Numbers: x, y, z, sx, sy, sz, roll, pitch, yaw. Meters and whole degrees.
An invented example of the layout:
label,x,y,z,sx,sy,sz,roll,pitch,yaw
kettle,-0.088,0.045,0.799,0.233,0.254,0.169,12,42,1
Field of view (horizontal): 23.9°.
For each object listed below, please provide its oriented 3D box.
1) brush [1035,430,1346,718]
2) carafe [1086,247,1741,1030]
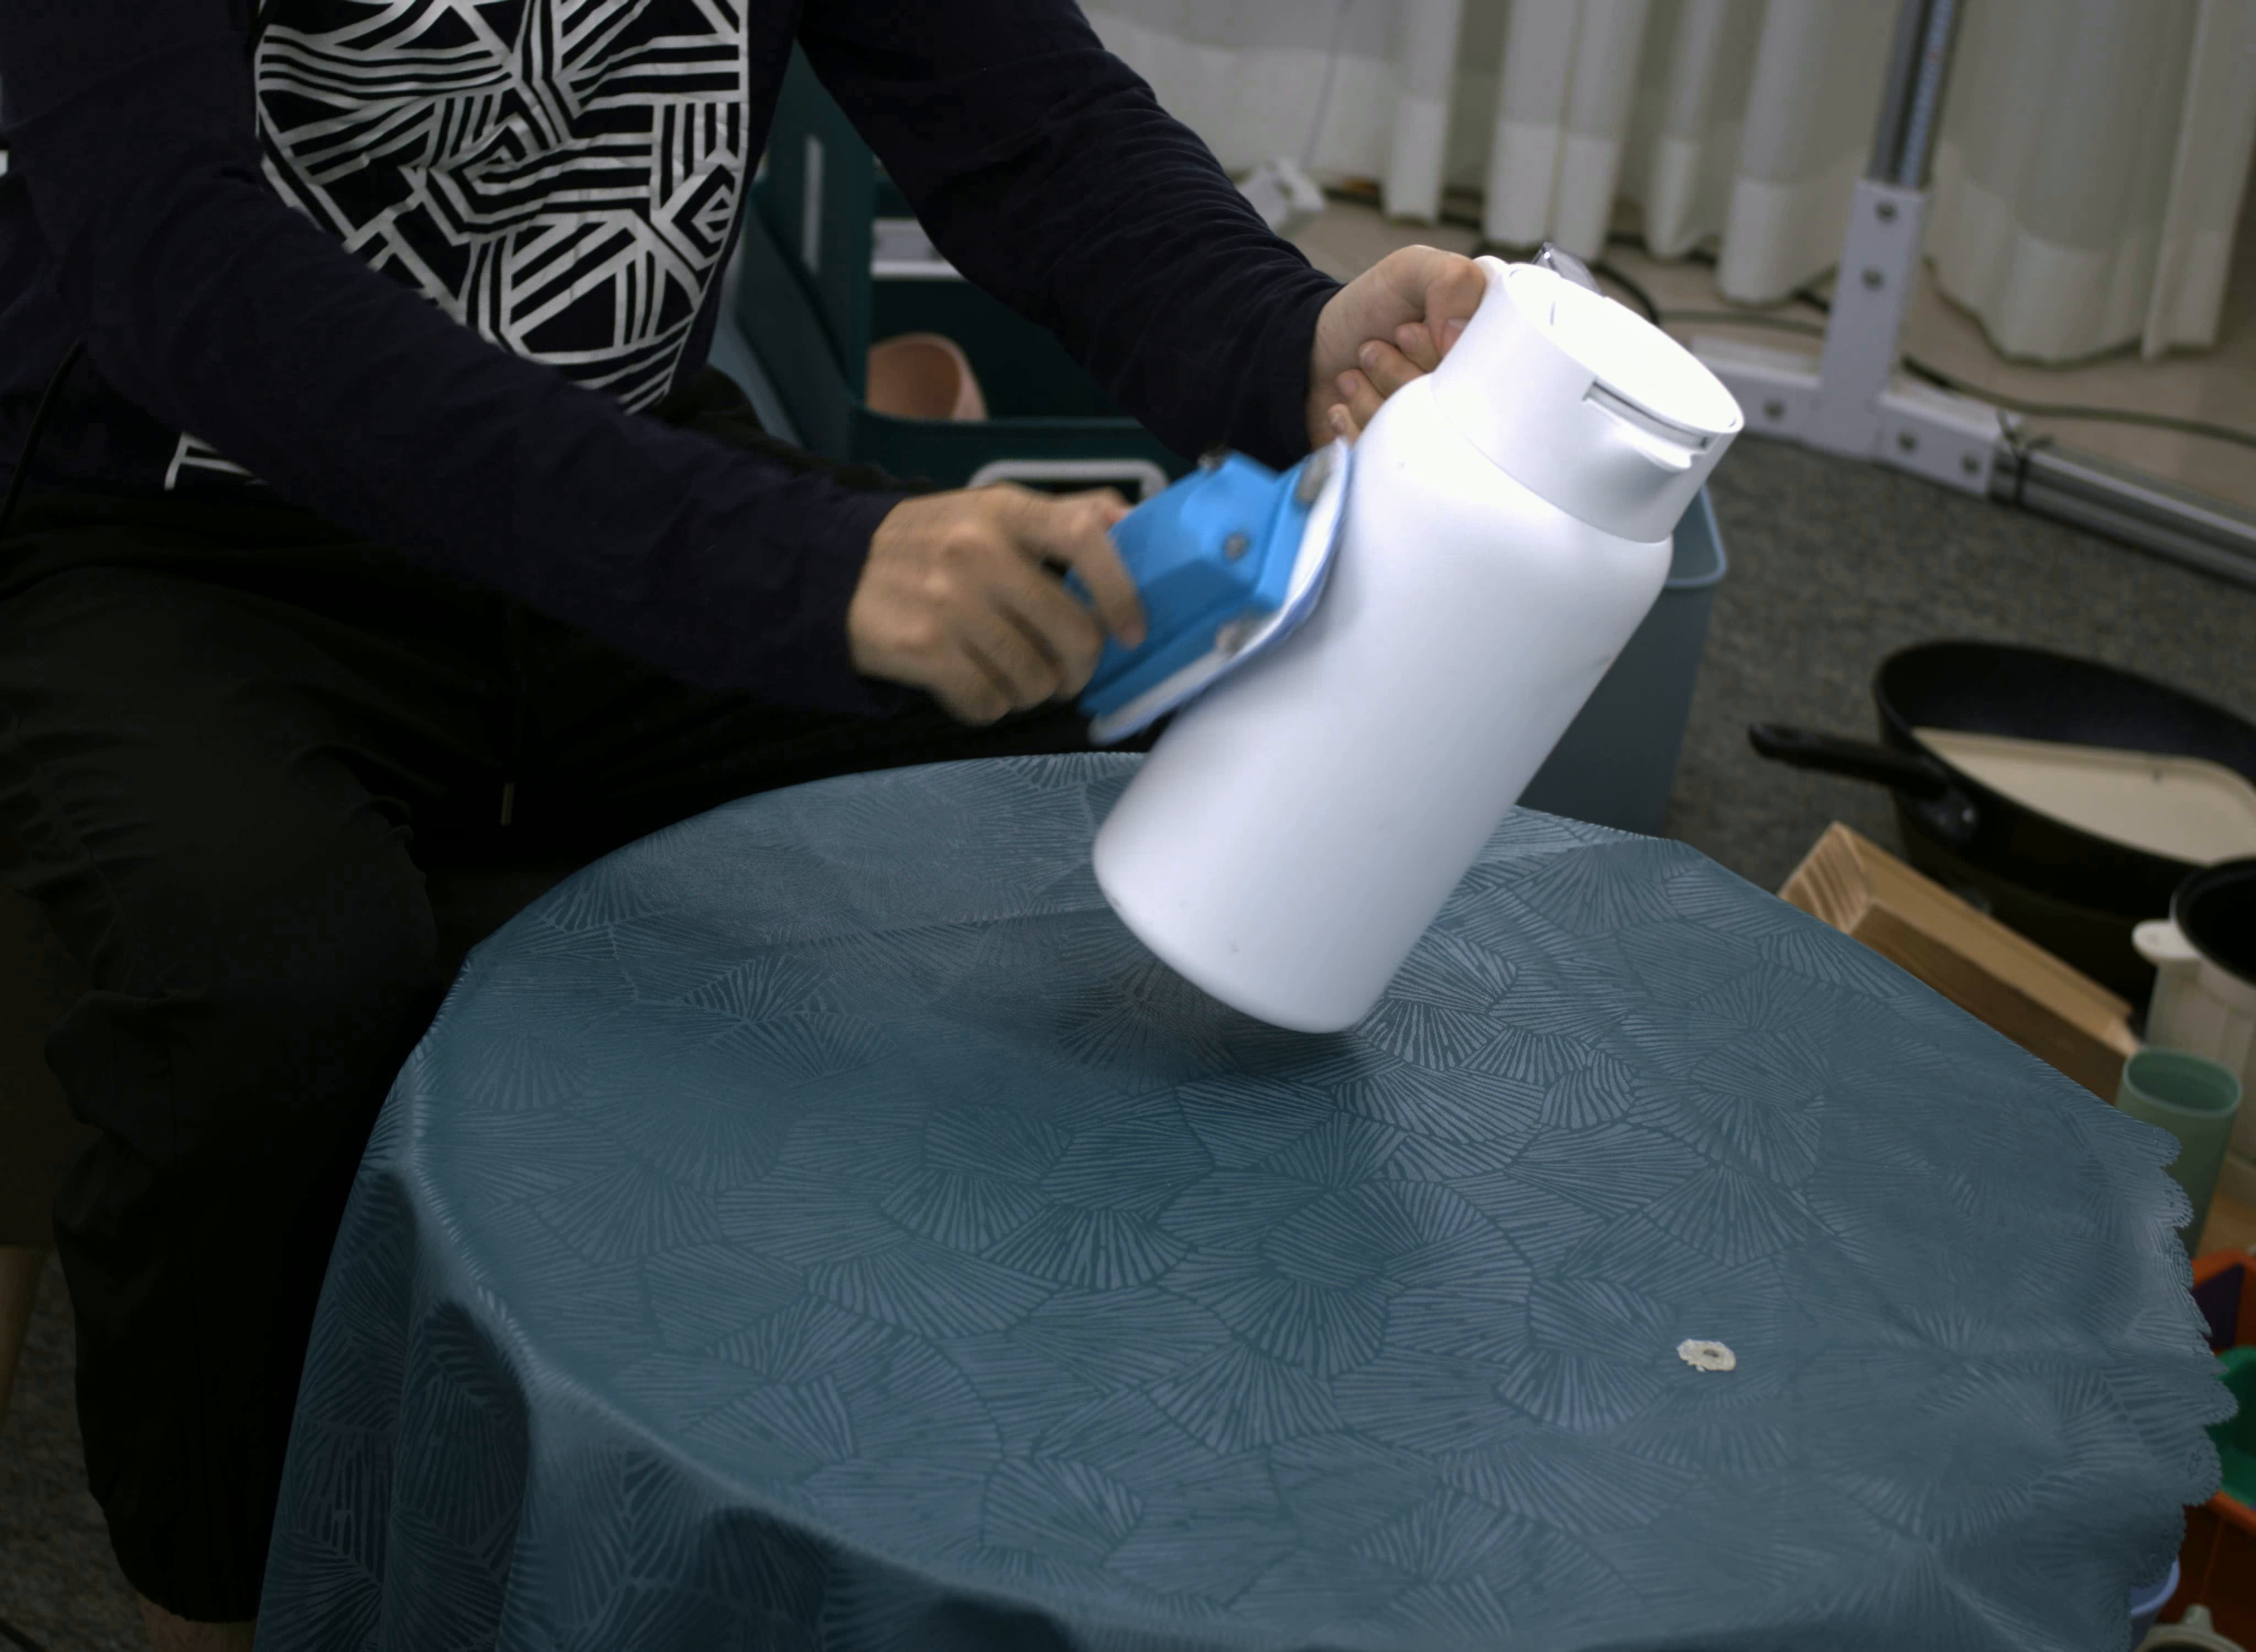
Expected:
label,x,y,z,sx,sy,sz,roll,pitch,yaw
brush,0.015,-0.094,1.854,0.055,0.144,0.084,33,60,-21
carafe,0.095,-0.072,1.876,0.123,0.268,0.174,20,24,-27
